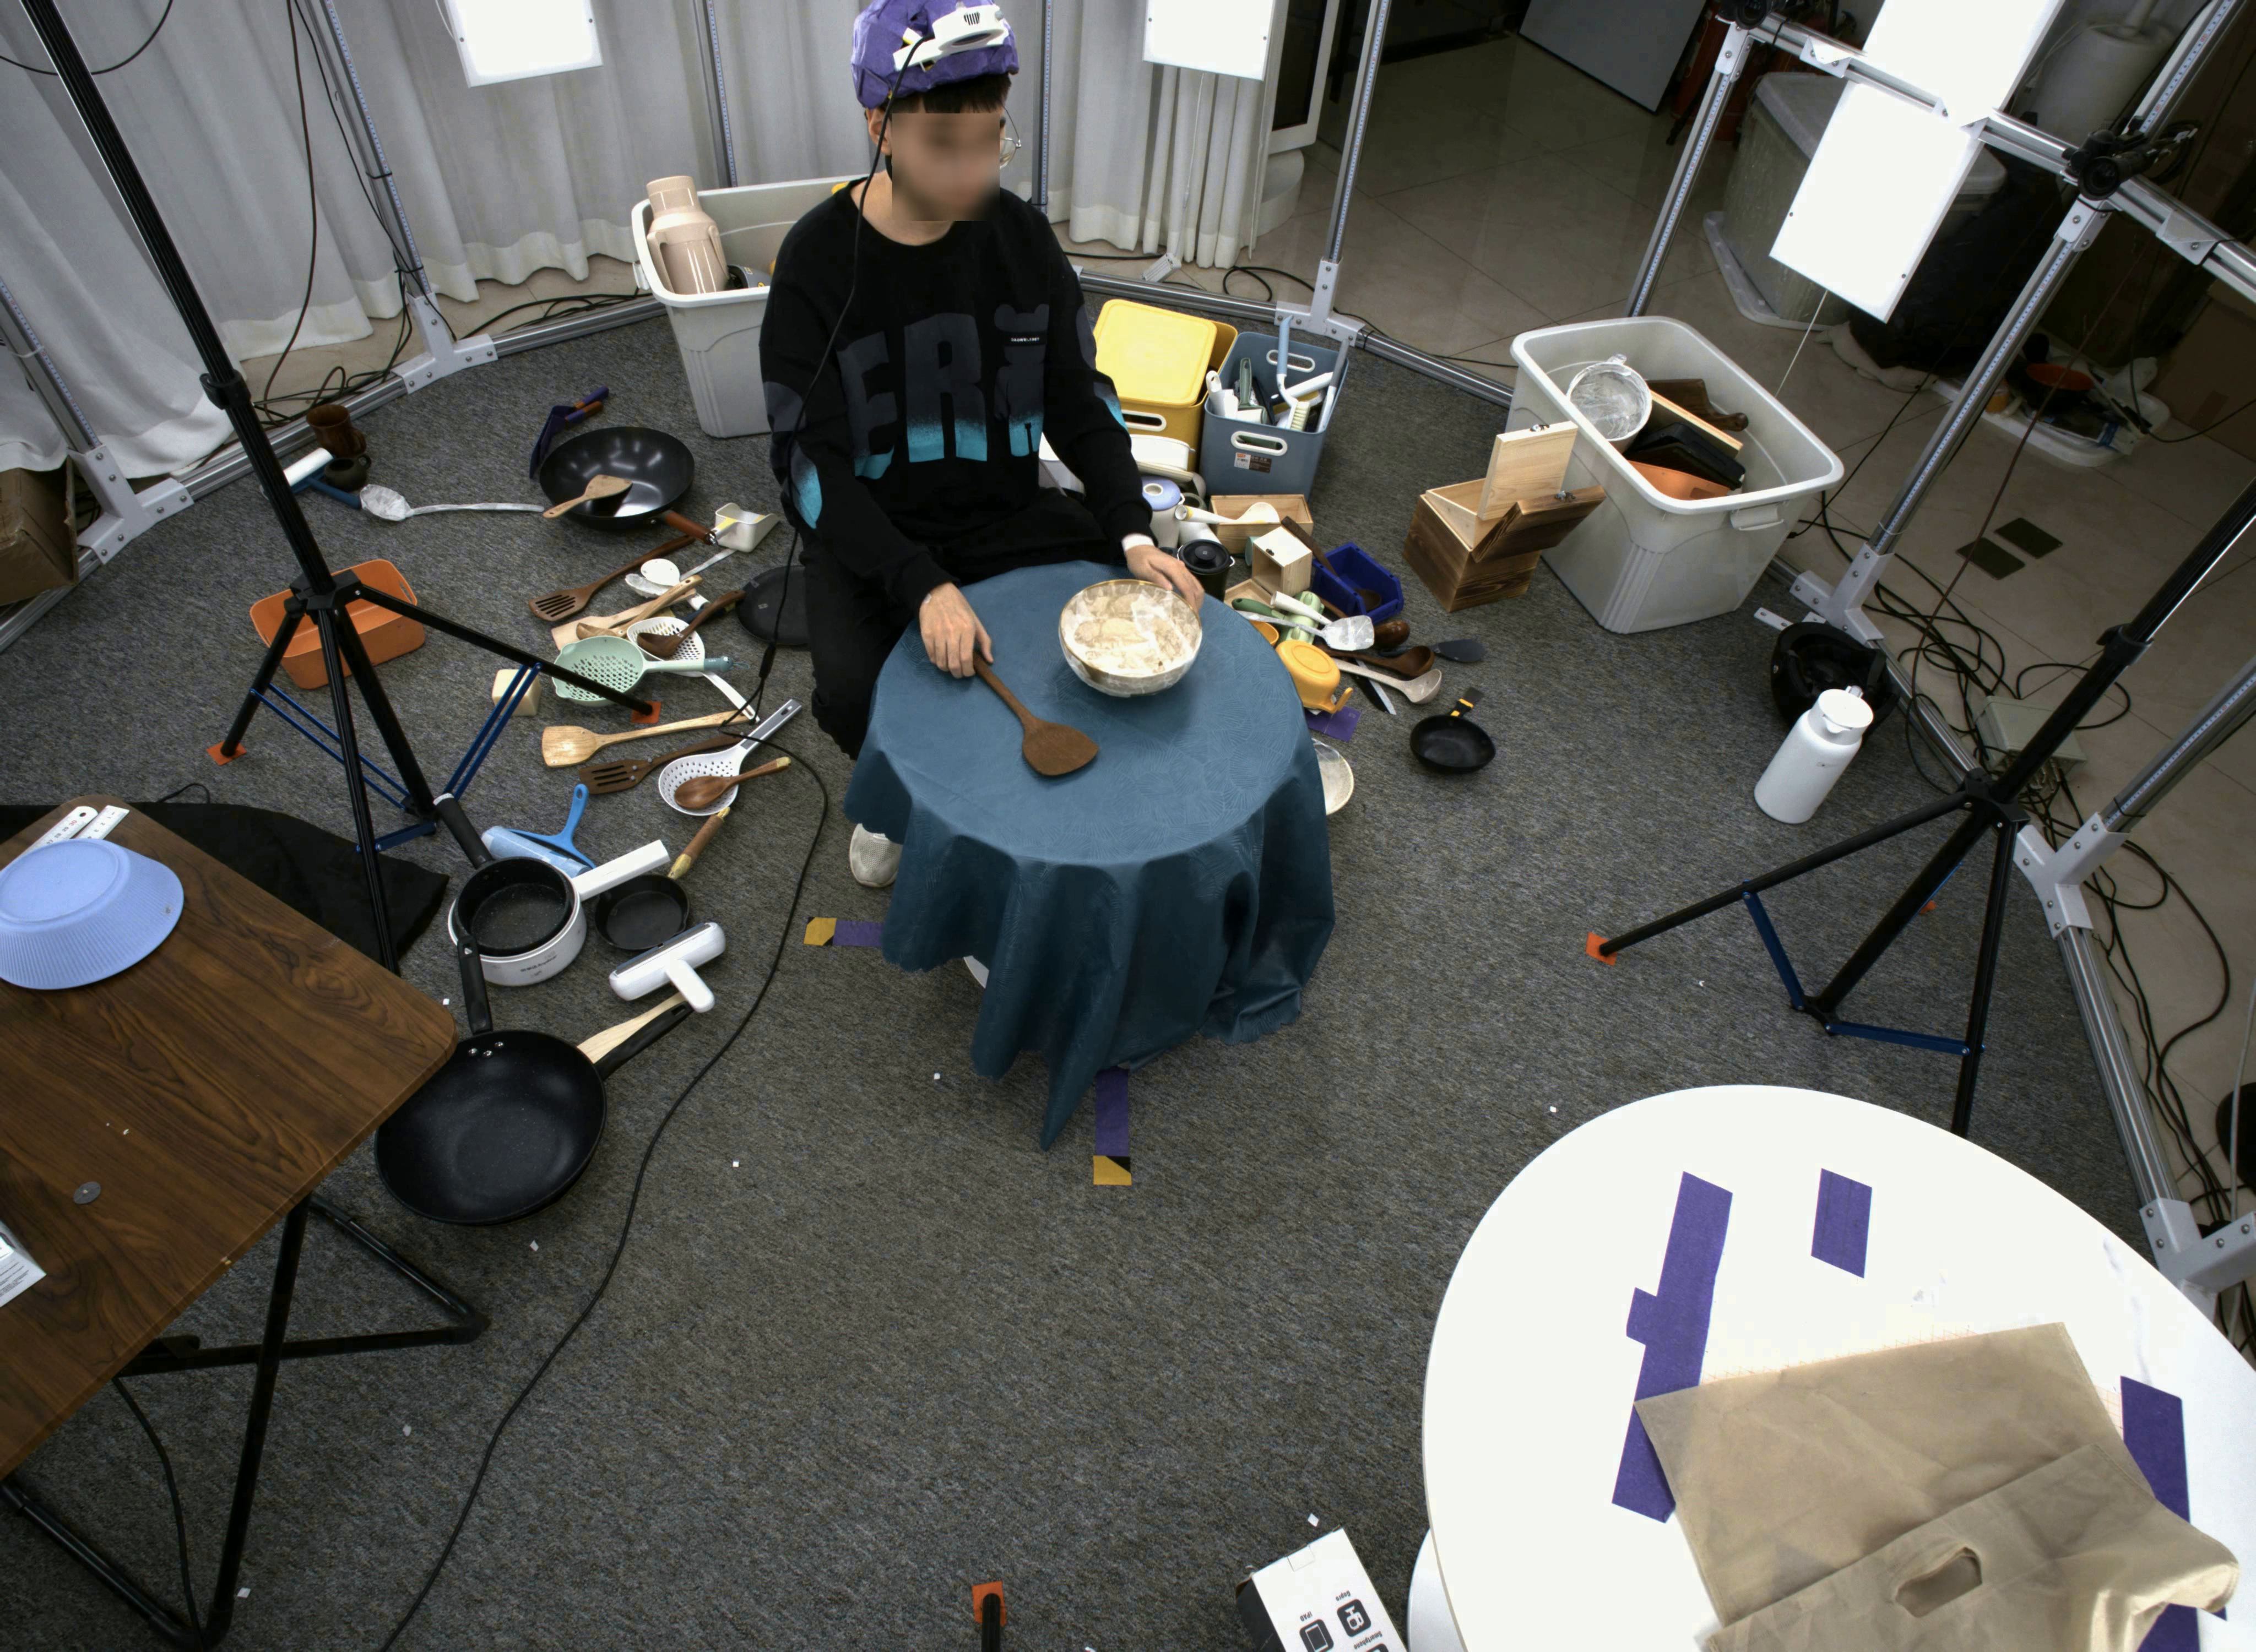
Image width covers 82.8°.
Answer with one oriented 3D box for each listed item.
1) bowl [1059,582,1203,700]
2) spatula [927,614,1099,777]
[{"bbox_3d":[0.003,-0.253,1.845,0.214,0.092,0.220,1,48,-1],"label":"bowl"},{"bbox_3d":[-0.182,-0.197,1.835,0.096,0.015,0.393,-27,55,-25],"label":"spatula"}]
